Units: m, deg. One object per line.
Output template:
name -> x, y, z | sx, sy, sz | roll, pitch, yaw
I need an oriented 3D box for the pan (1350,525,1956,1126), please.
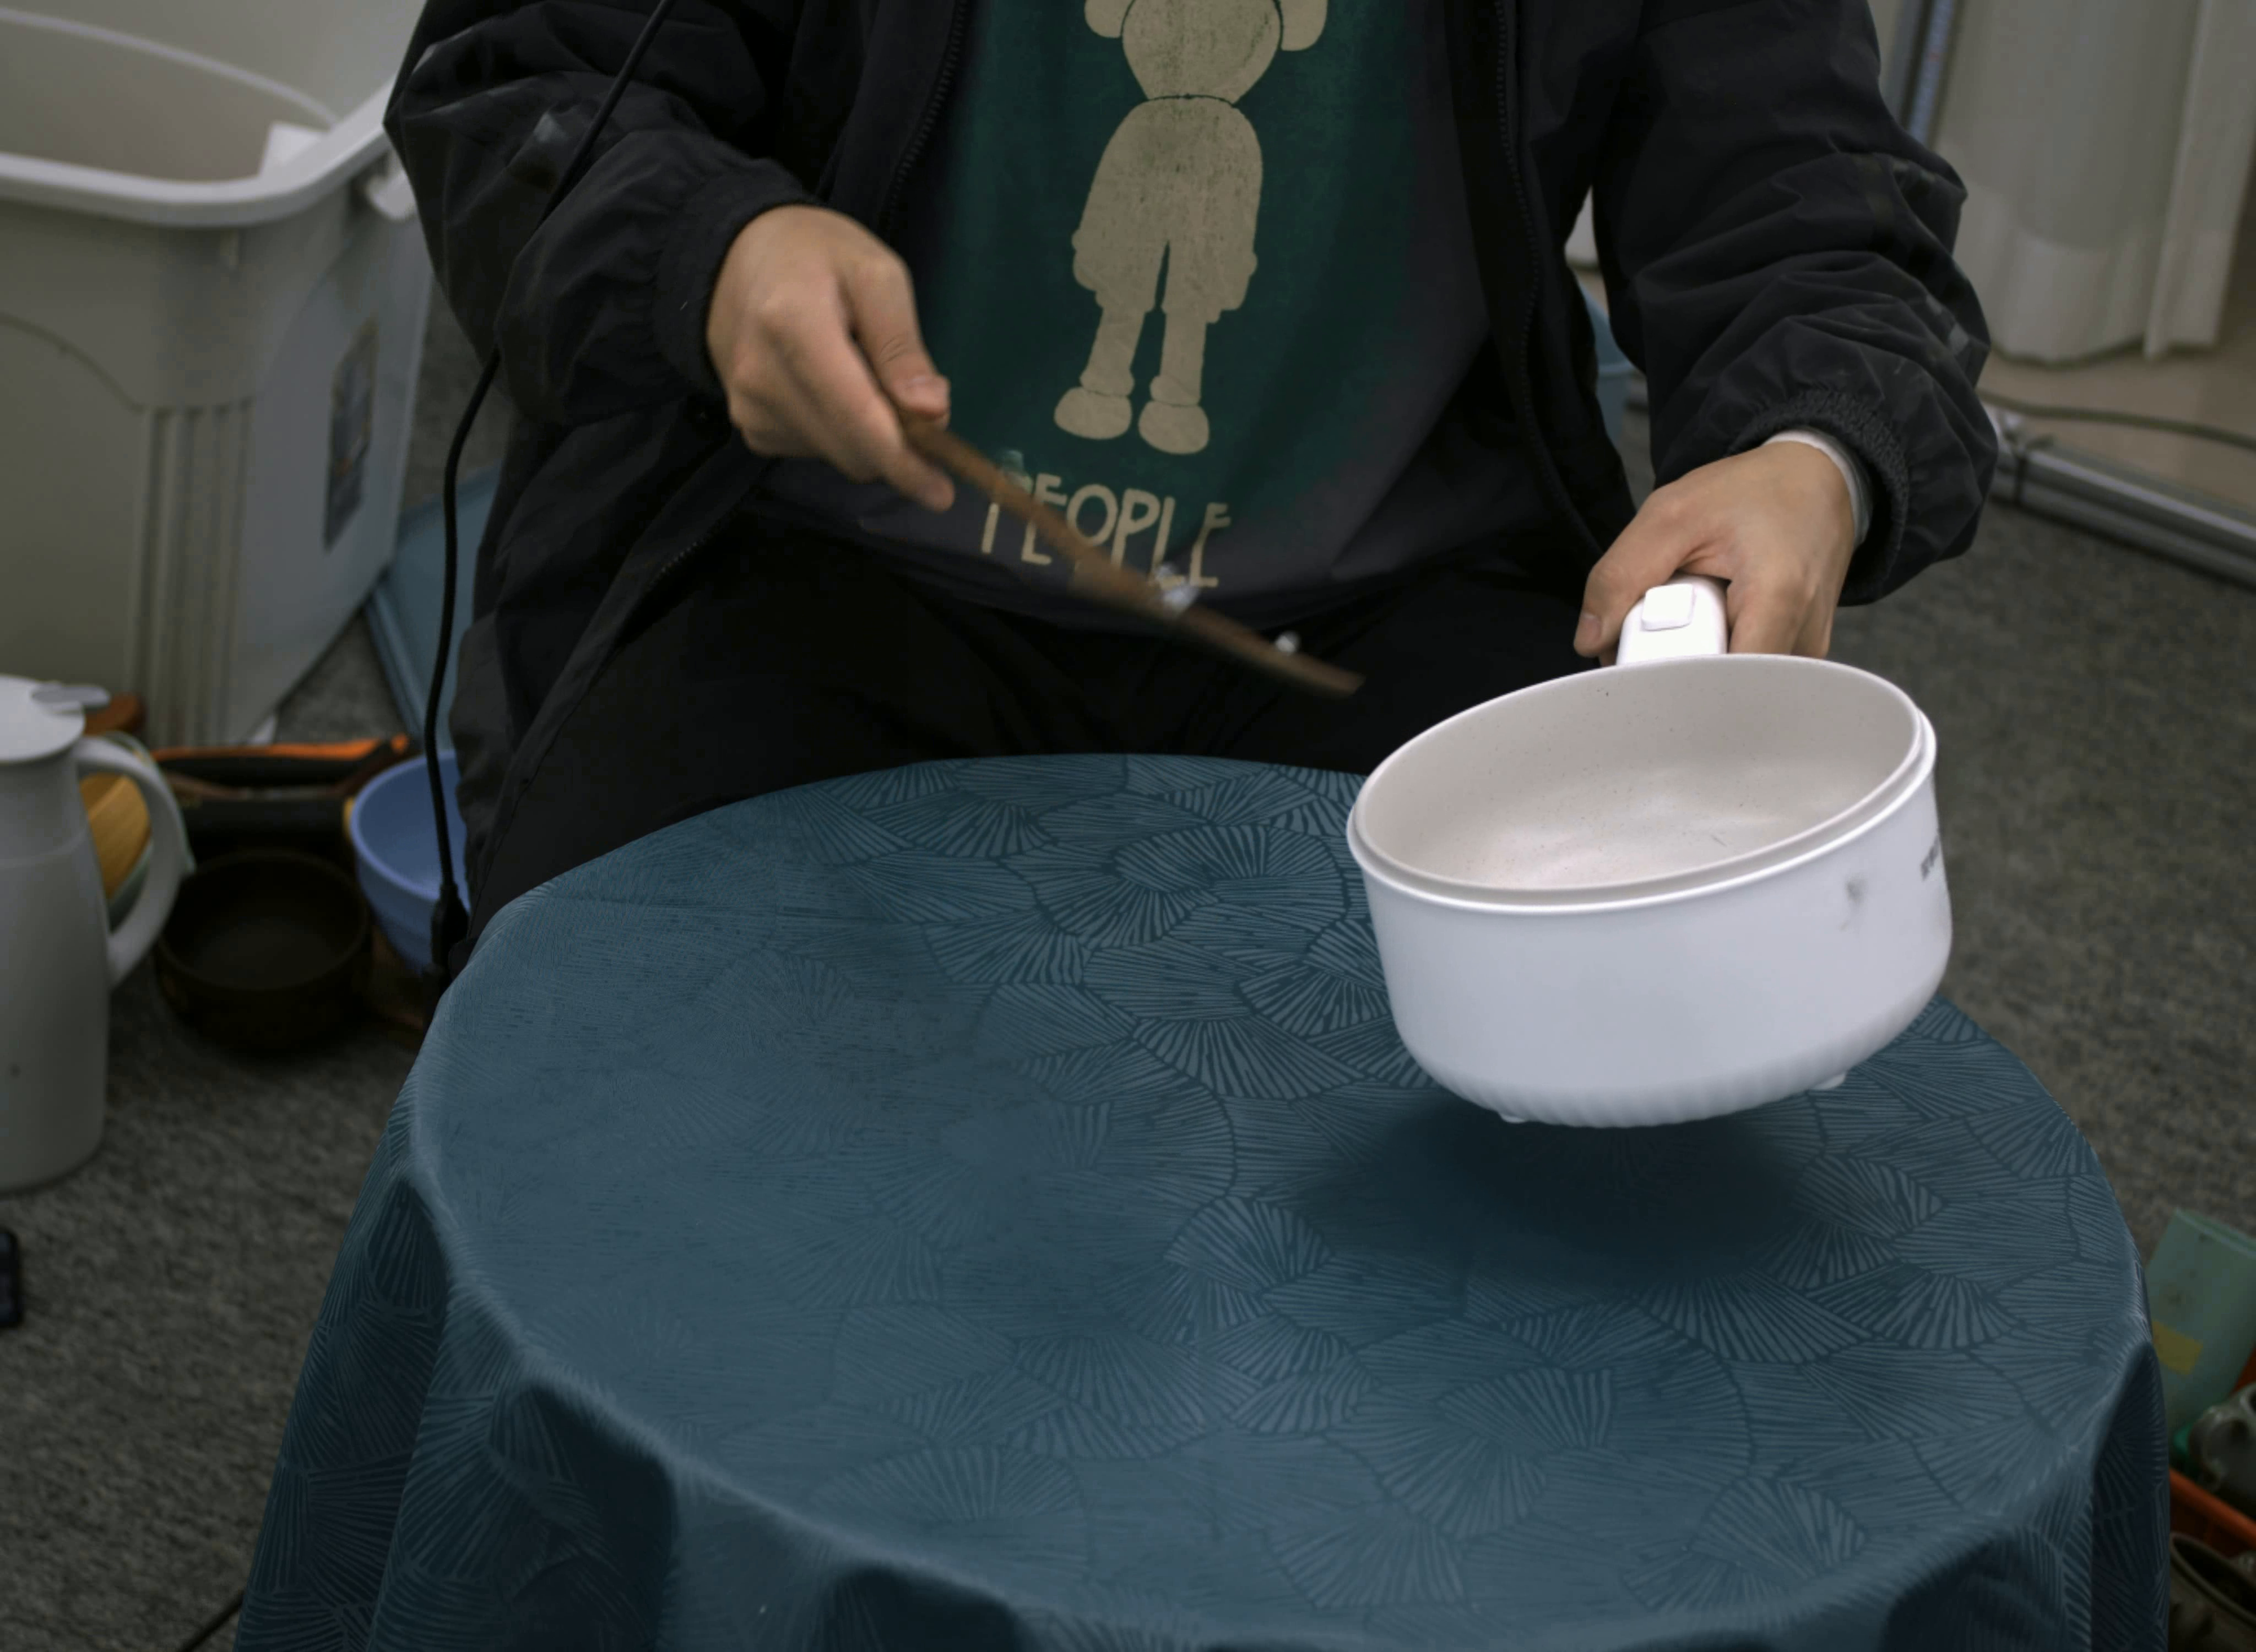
pan -> 0.195, -0.003, 1.886 | 0.201, 0.102, 0.356 | -8, 20, 13

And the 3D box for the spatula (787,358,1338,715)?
spatula -> -0.043, -0.111, 1.904 | 0.095, 0.016, 0.389 | 19, 11, -31
